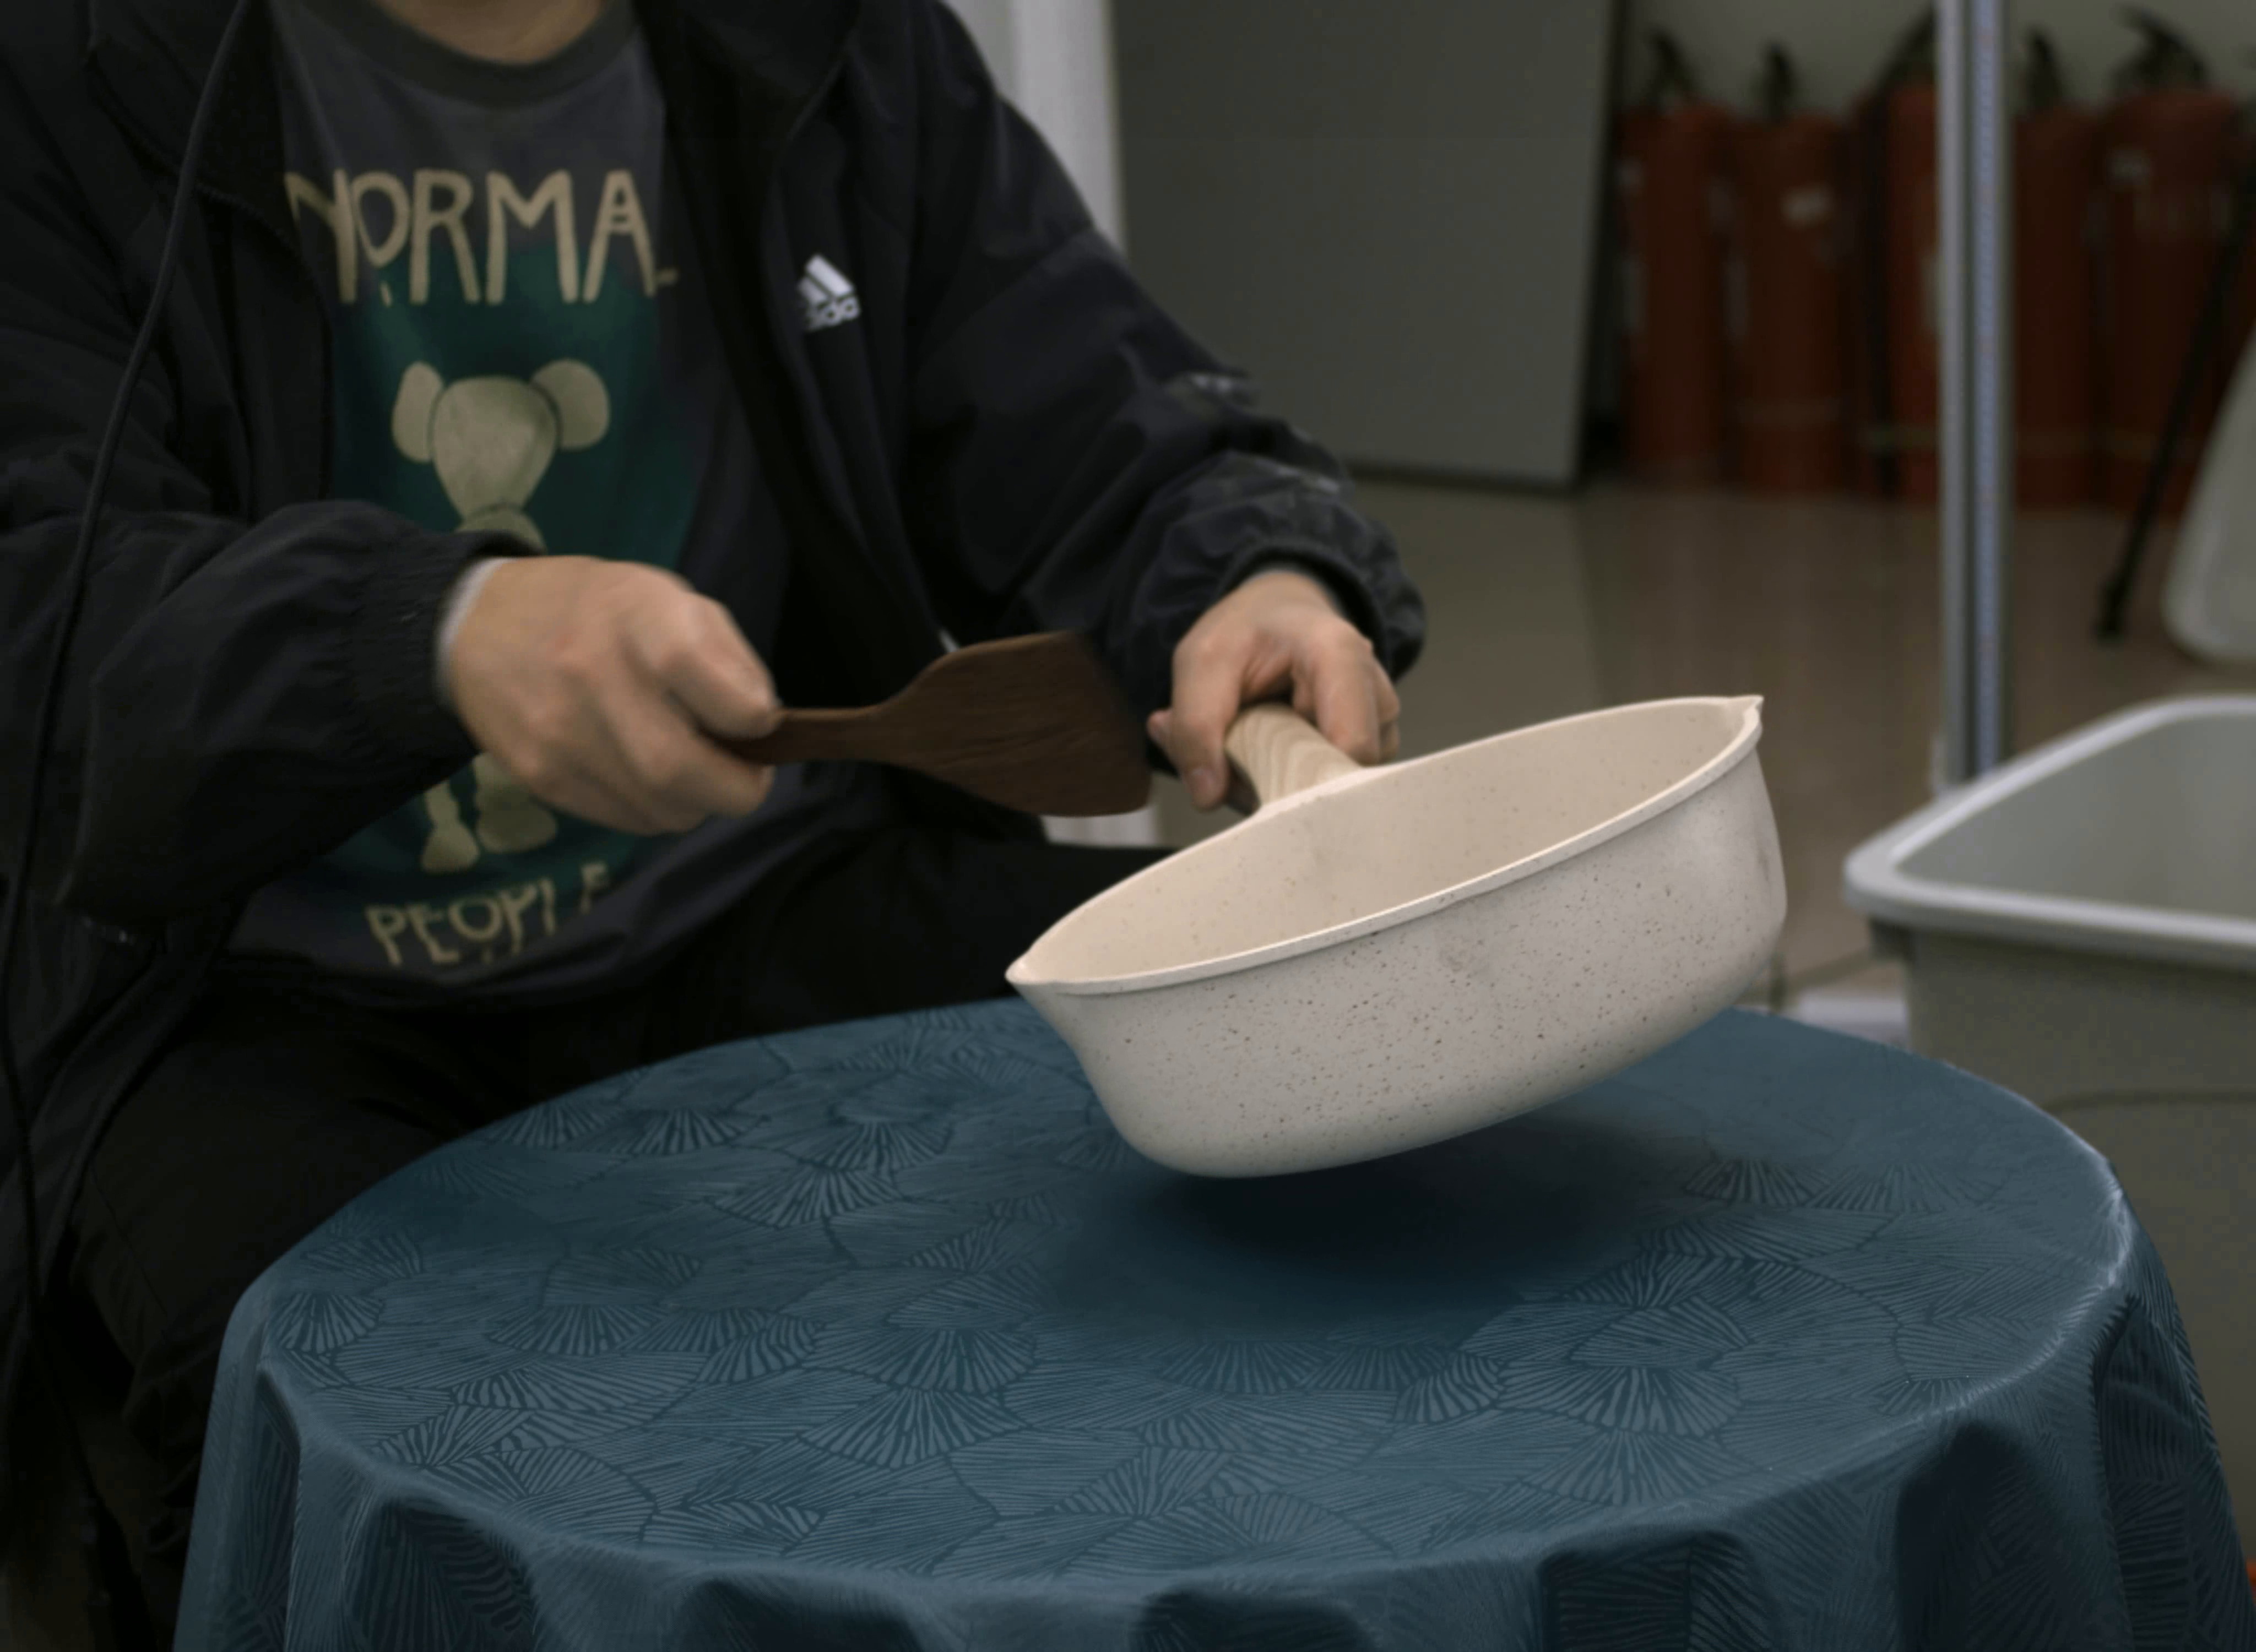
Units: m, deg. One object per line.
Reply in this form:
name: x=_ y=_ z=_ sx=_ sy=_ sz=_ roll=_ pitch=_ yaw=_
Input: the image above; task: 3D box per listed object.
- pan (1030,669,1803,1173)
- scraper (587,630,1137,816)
pan: x=0.086 y=0.021 z=1.825 sx=0.260 sy=0.103 sz=0.436 roll=-23 pitch=8 yaw=-5
scraper: x=-0.092 y=-0.029 z=1.733 sx=0.213 sy=0.075 sz=0.011 roll=-2 pitch=44 yaw=38
